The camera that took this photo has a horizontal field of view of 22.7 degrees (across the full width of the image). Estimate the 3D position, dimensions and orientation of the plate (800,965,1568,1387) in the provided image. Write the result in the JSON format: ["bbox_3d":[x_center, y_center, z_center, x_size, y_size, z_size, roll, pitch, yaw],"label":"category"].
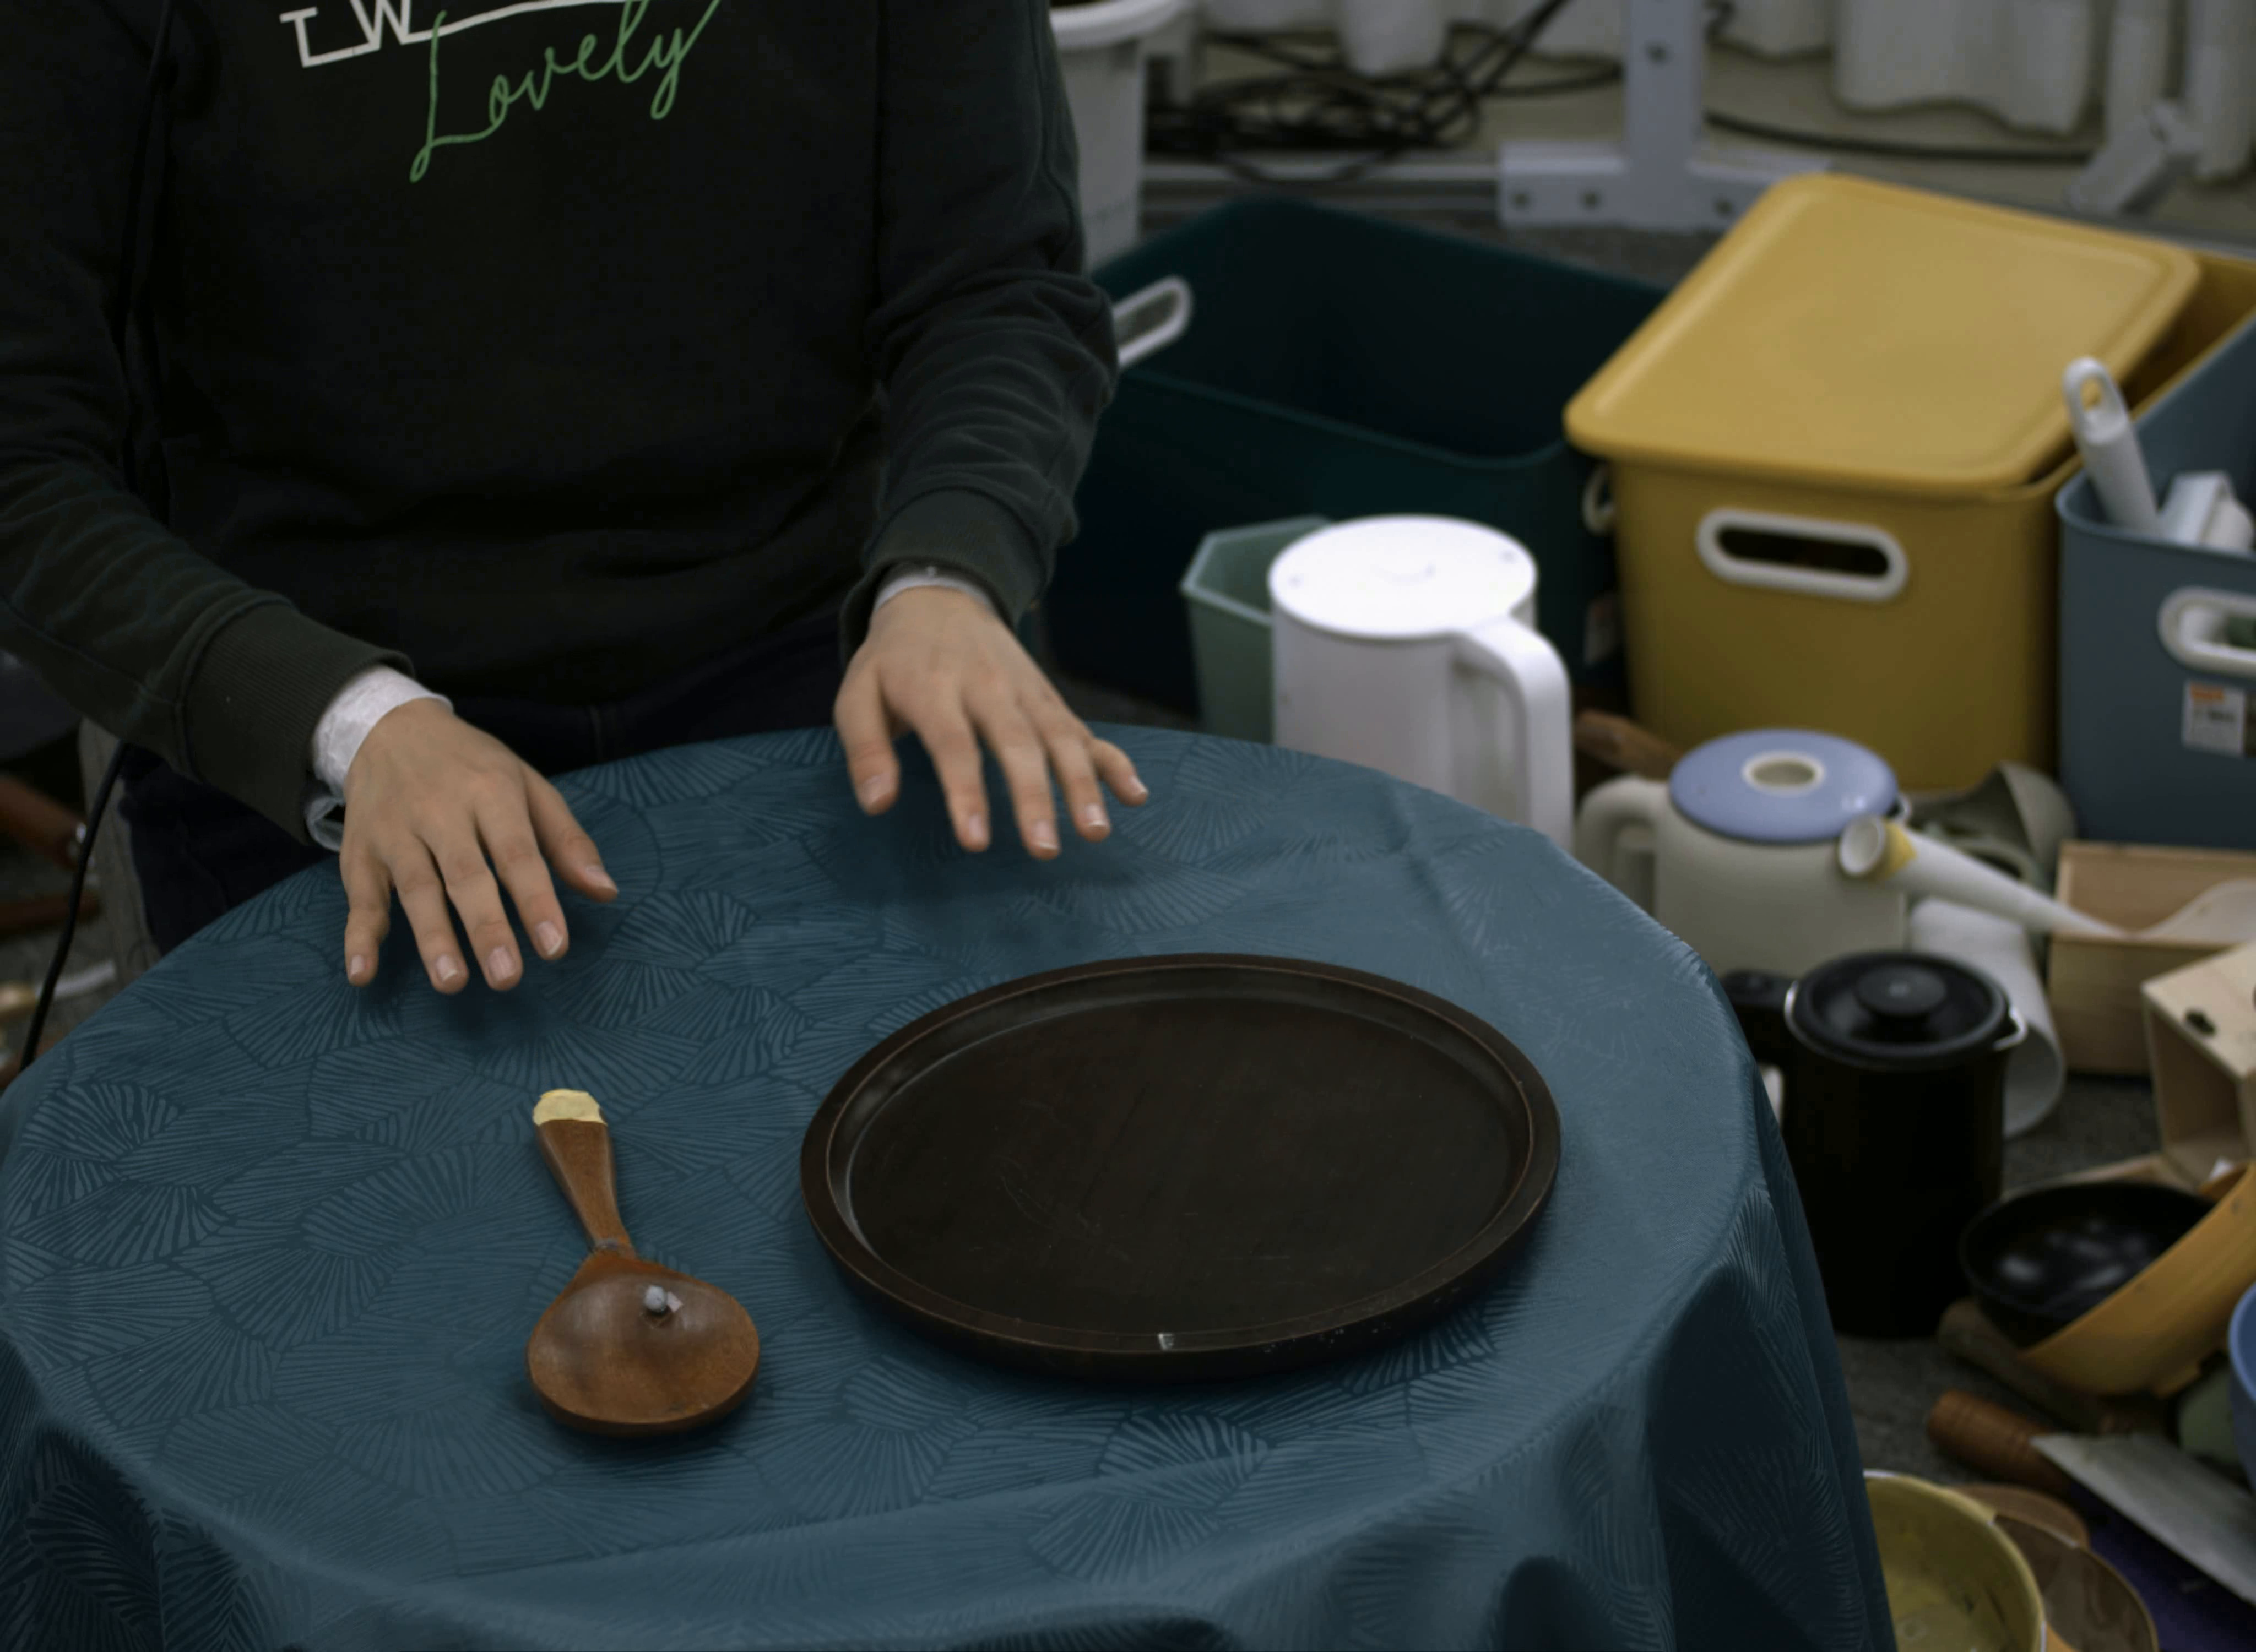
[{"bbox_3d":[0.018,0.113,1.852,0.253,0.029,0.259,-1,28,1],"label":"plate"}]

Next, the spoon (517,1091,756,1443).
[{"bbox_3d":[-0.170,0.143,1.820,0.075,0.017,0.218,-9,28,-11],"label":"spoon"}]
